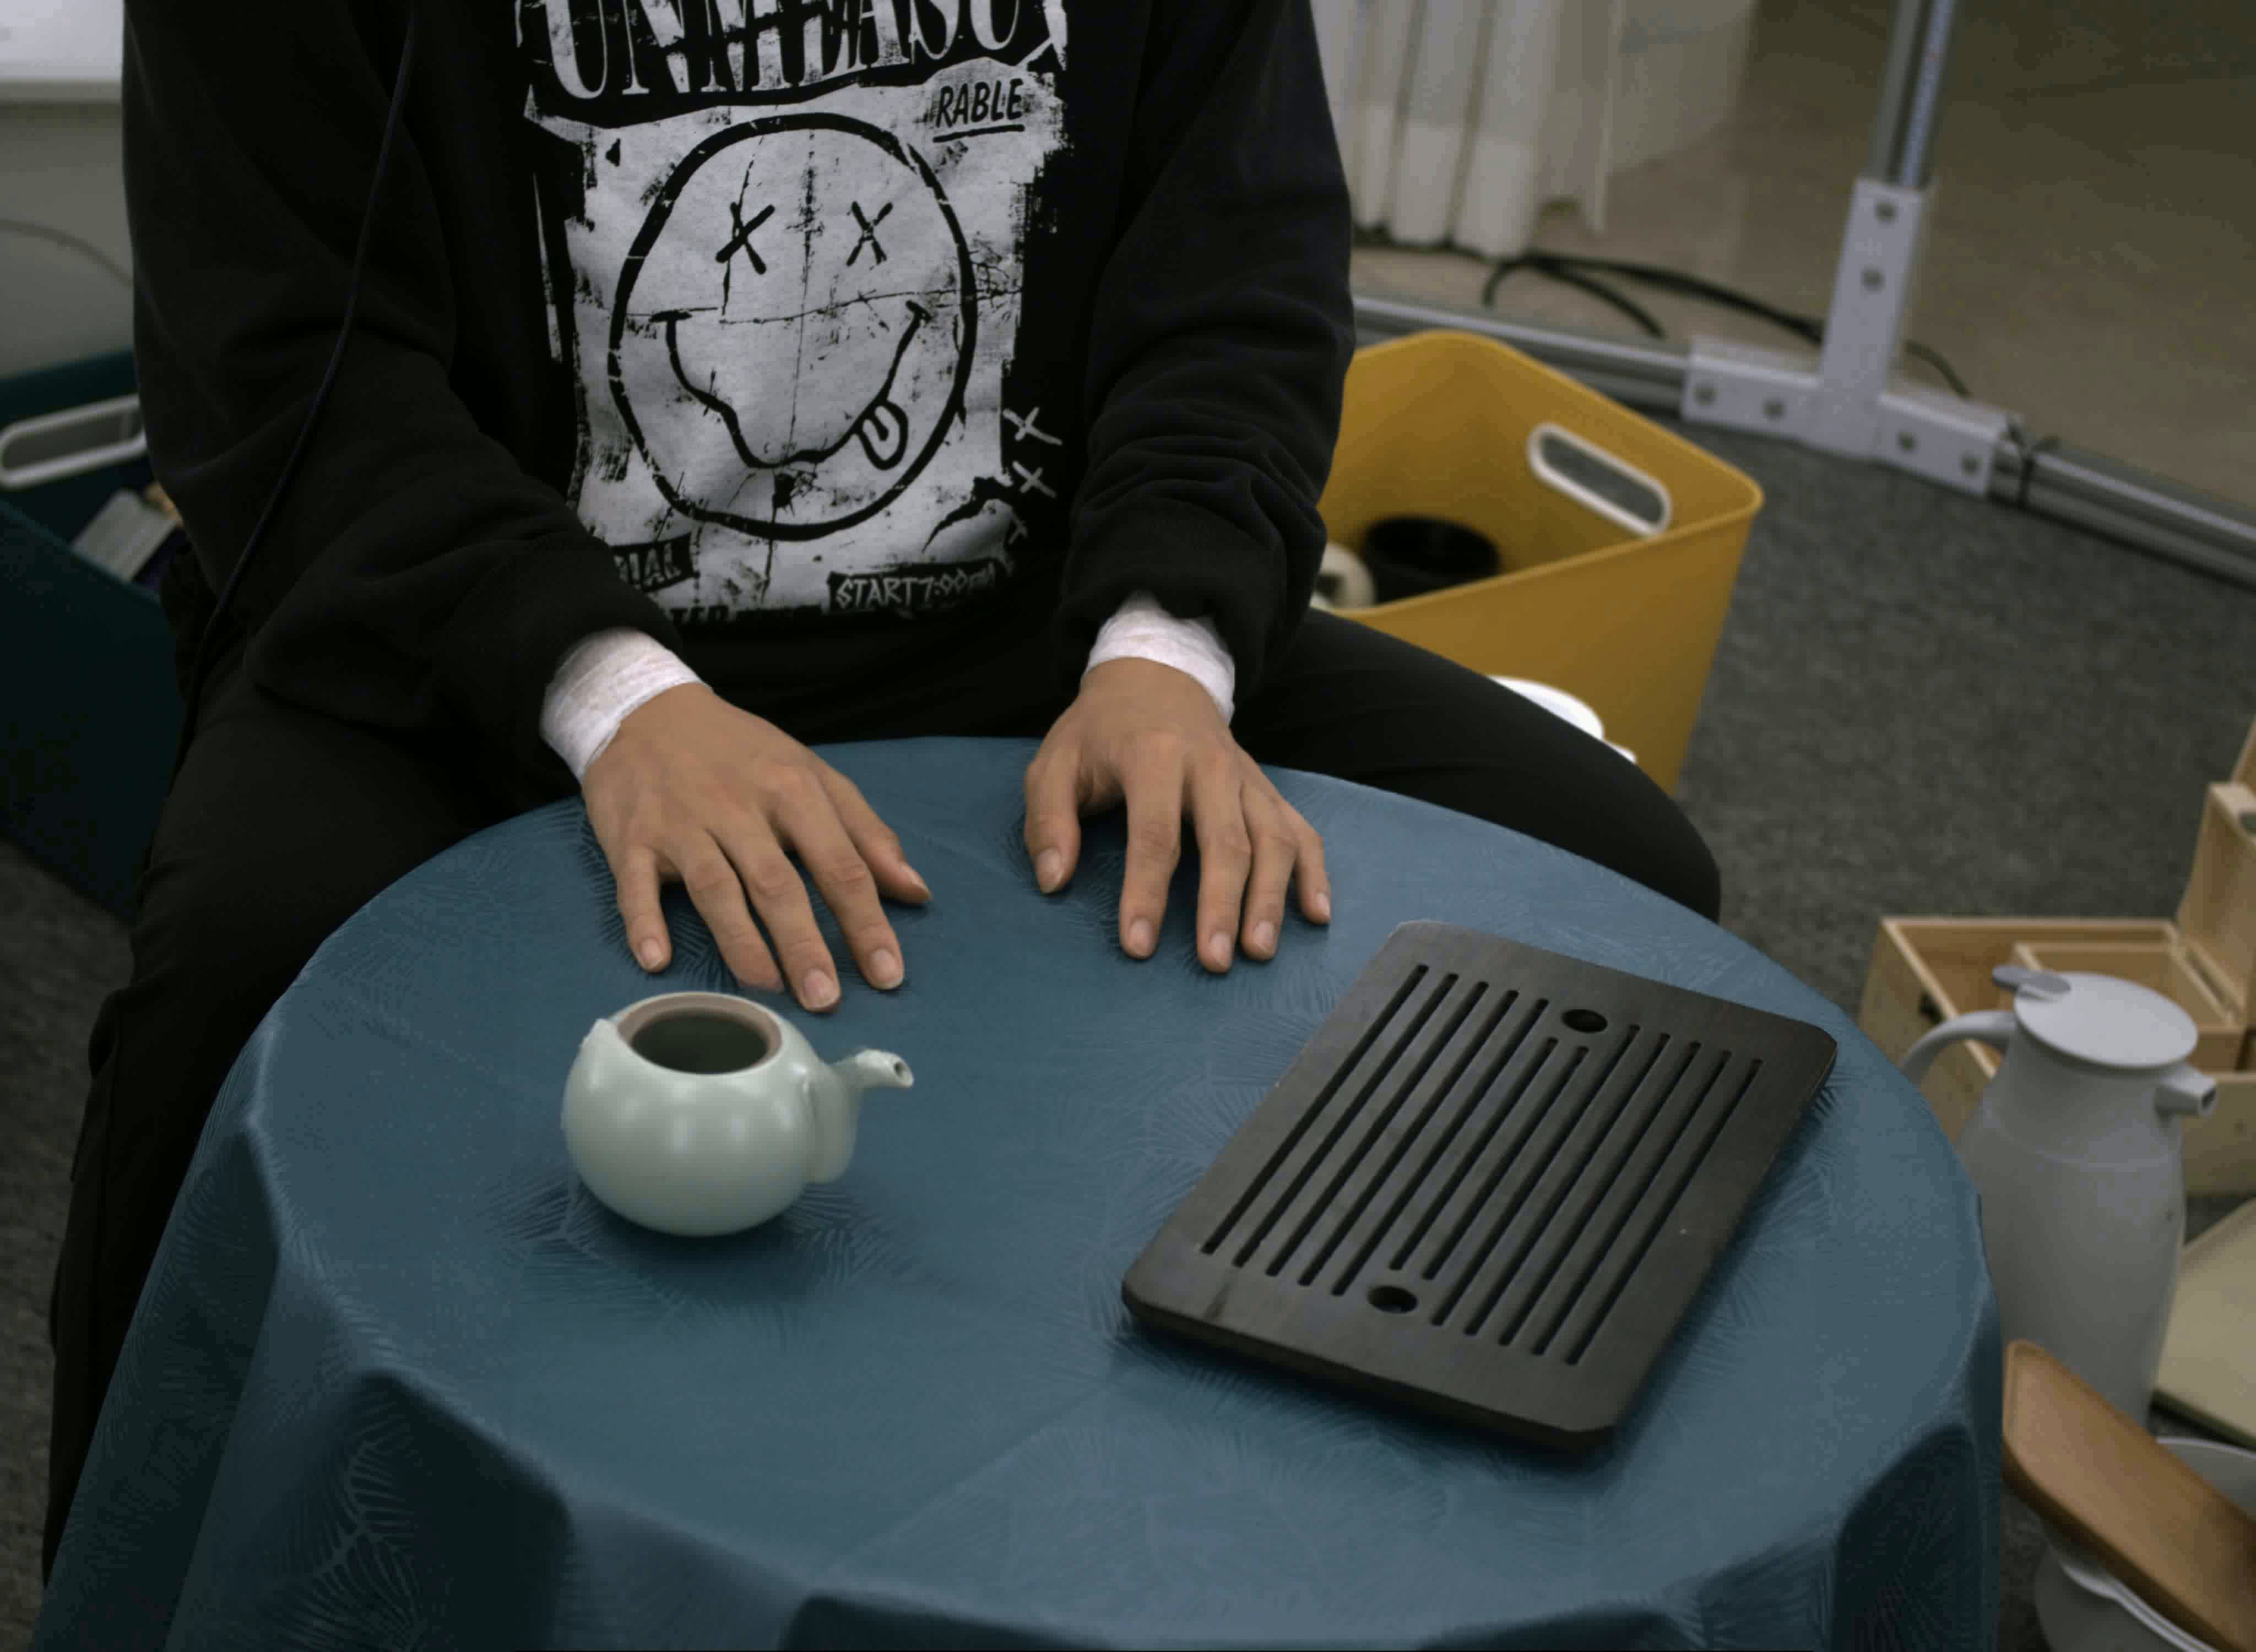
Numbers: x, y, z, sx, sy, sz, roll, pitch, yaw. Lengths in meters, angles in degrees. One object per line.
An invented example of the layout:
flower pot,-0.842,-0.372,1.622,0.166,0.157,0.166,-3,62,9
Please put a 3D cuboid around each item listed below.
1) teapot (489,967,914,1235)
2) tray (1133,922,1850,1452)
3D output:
teapot,-0.142,0.093,1.753,0.144,0.074,0.088,14,28,11
tray,0.130,0.120,1.821,0.170,0.018,0.306,15,28,17
